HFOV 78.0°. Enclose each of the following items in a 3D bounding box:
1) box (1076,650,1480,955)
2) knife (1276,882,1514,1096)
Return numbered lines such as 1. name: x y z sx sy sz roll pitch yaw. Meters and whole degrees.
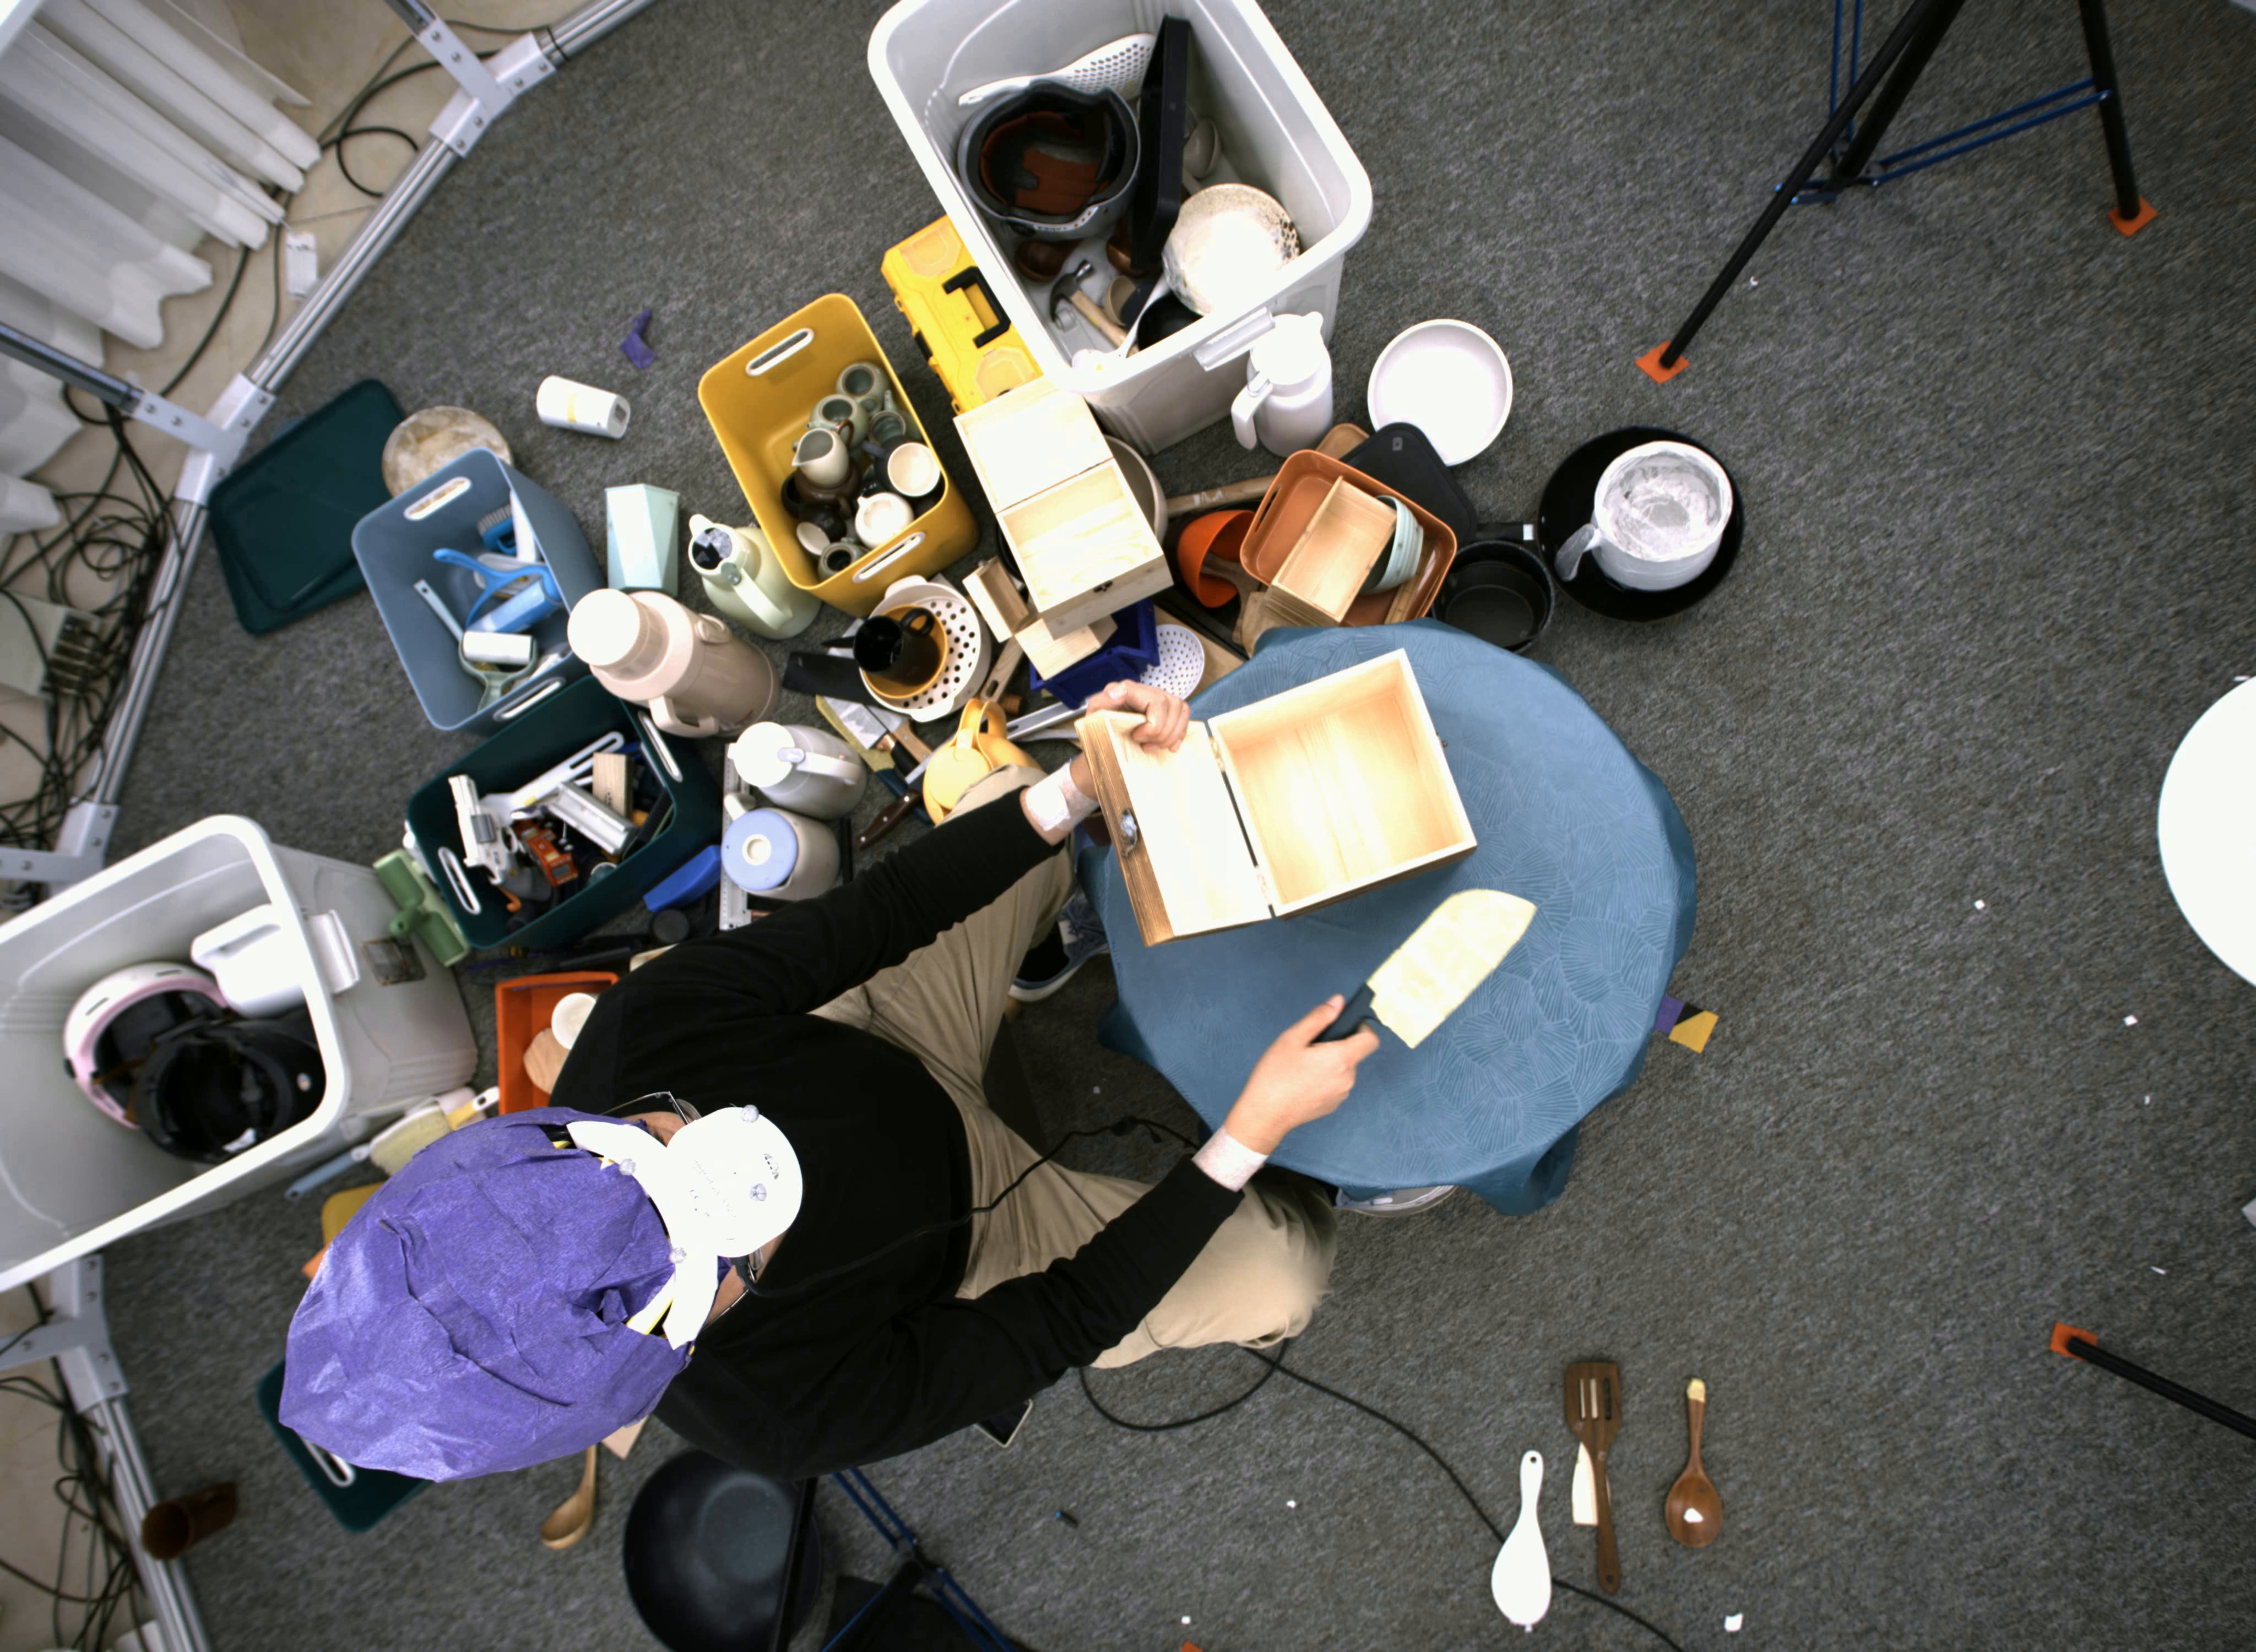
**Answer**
1. box: 0.152 -0.025 1.305 0.324 0.375 0.207 -20 82 8
2. knife: 0.249 0.157 1.286 0.293 0.027 0.080 -46 71 14
